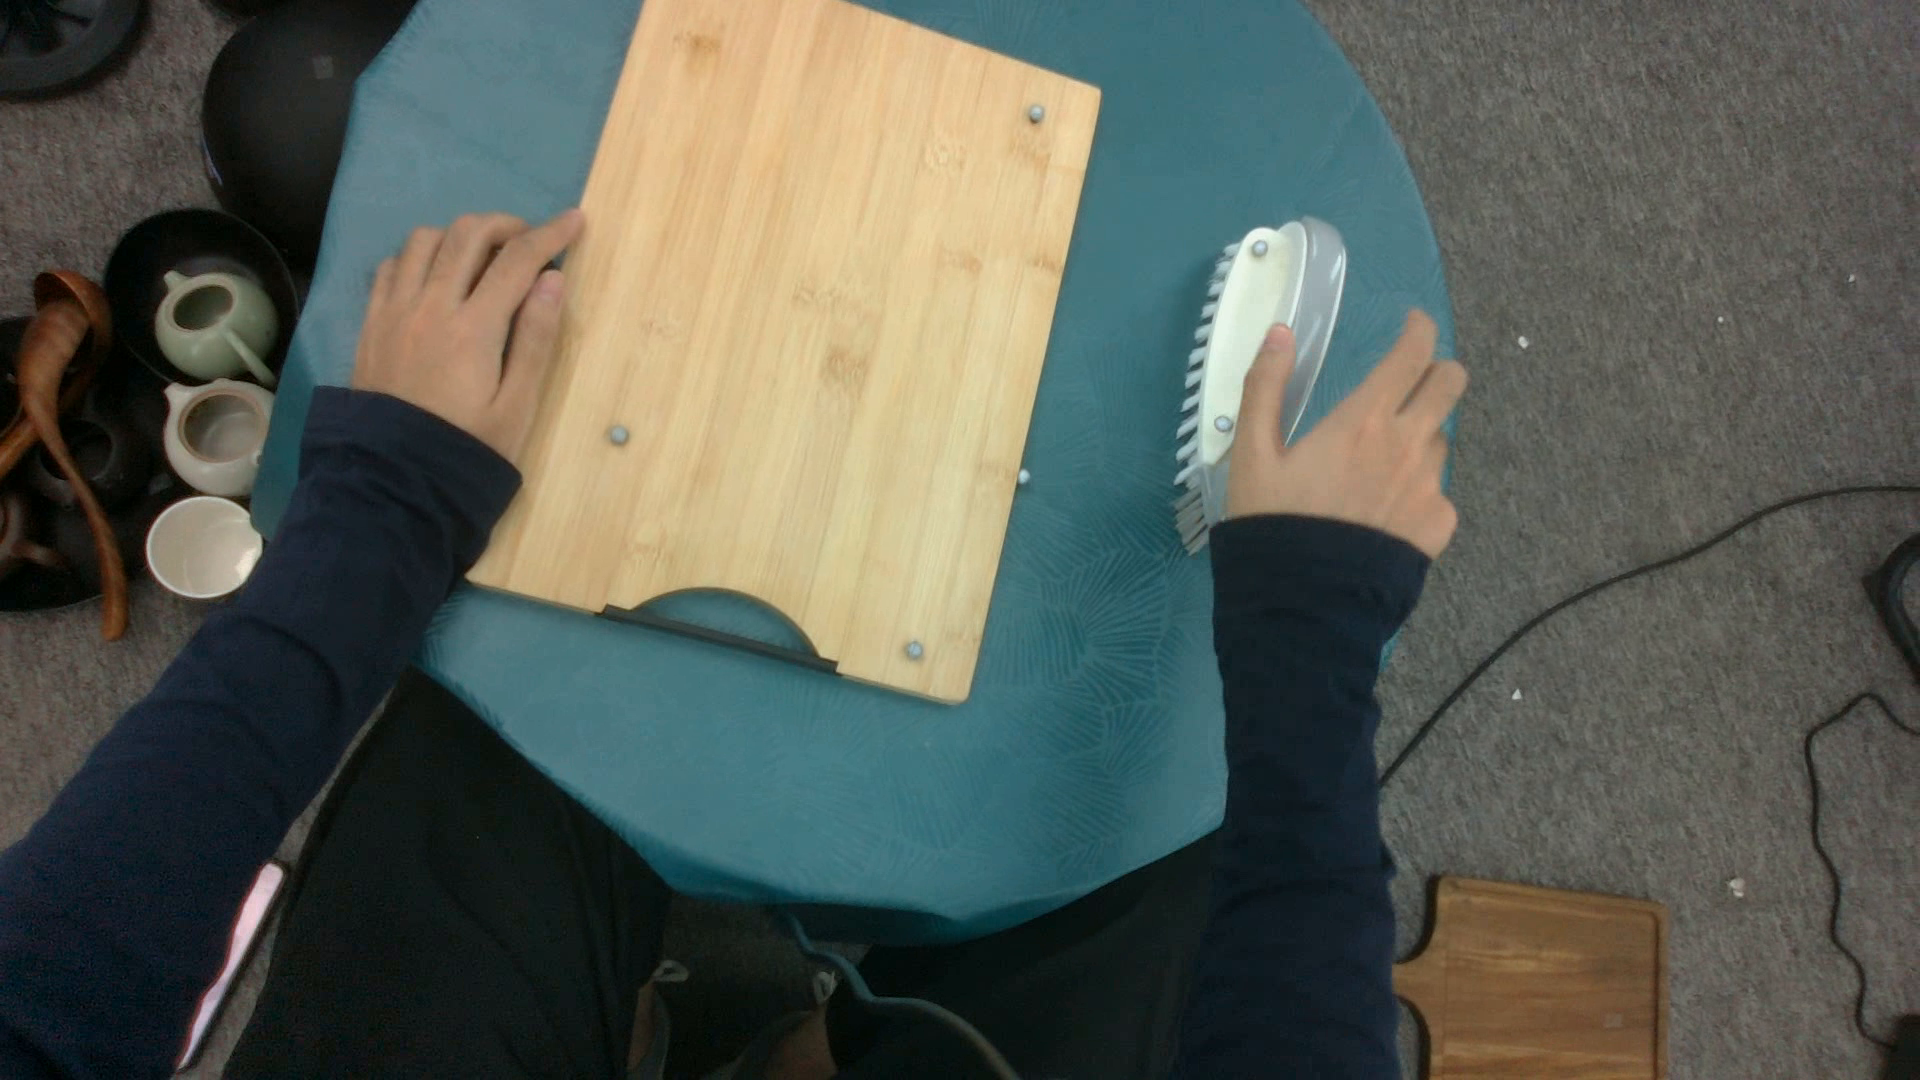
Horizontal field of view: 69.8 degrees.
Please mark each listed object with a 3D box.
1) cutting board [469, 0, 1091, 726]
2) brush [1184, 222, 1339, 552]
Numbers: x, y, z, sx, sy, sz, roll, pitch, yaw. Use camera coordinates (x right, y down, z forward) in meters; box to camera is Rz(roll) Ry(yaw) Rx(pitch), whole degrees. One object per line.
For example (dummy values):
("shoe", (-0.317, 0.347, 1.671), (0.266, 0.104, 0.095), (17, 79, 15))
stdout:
("cutting board", (-0.079, -0.099, 0.706), (0.251, 0.023, 0.349), (13, 76, -9))
("brush", (0.158, -0.083, 0.715), (0.061, 0.094, 0.176), (18, 77, -6))
